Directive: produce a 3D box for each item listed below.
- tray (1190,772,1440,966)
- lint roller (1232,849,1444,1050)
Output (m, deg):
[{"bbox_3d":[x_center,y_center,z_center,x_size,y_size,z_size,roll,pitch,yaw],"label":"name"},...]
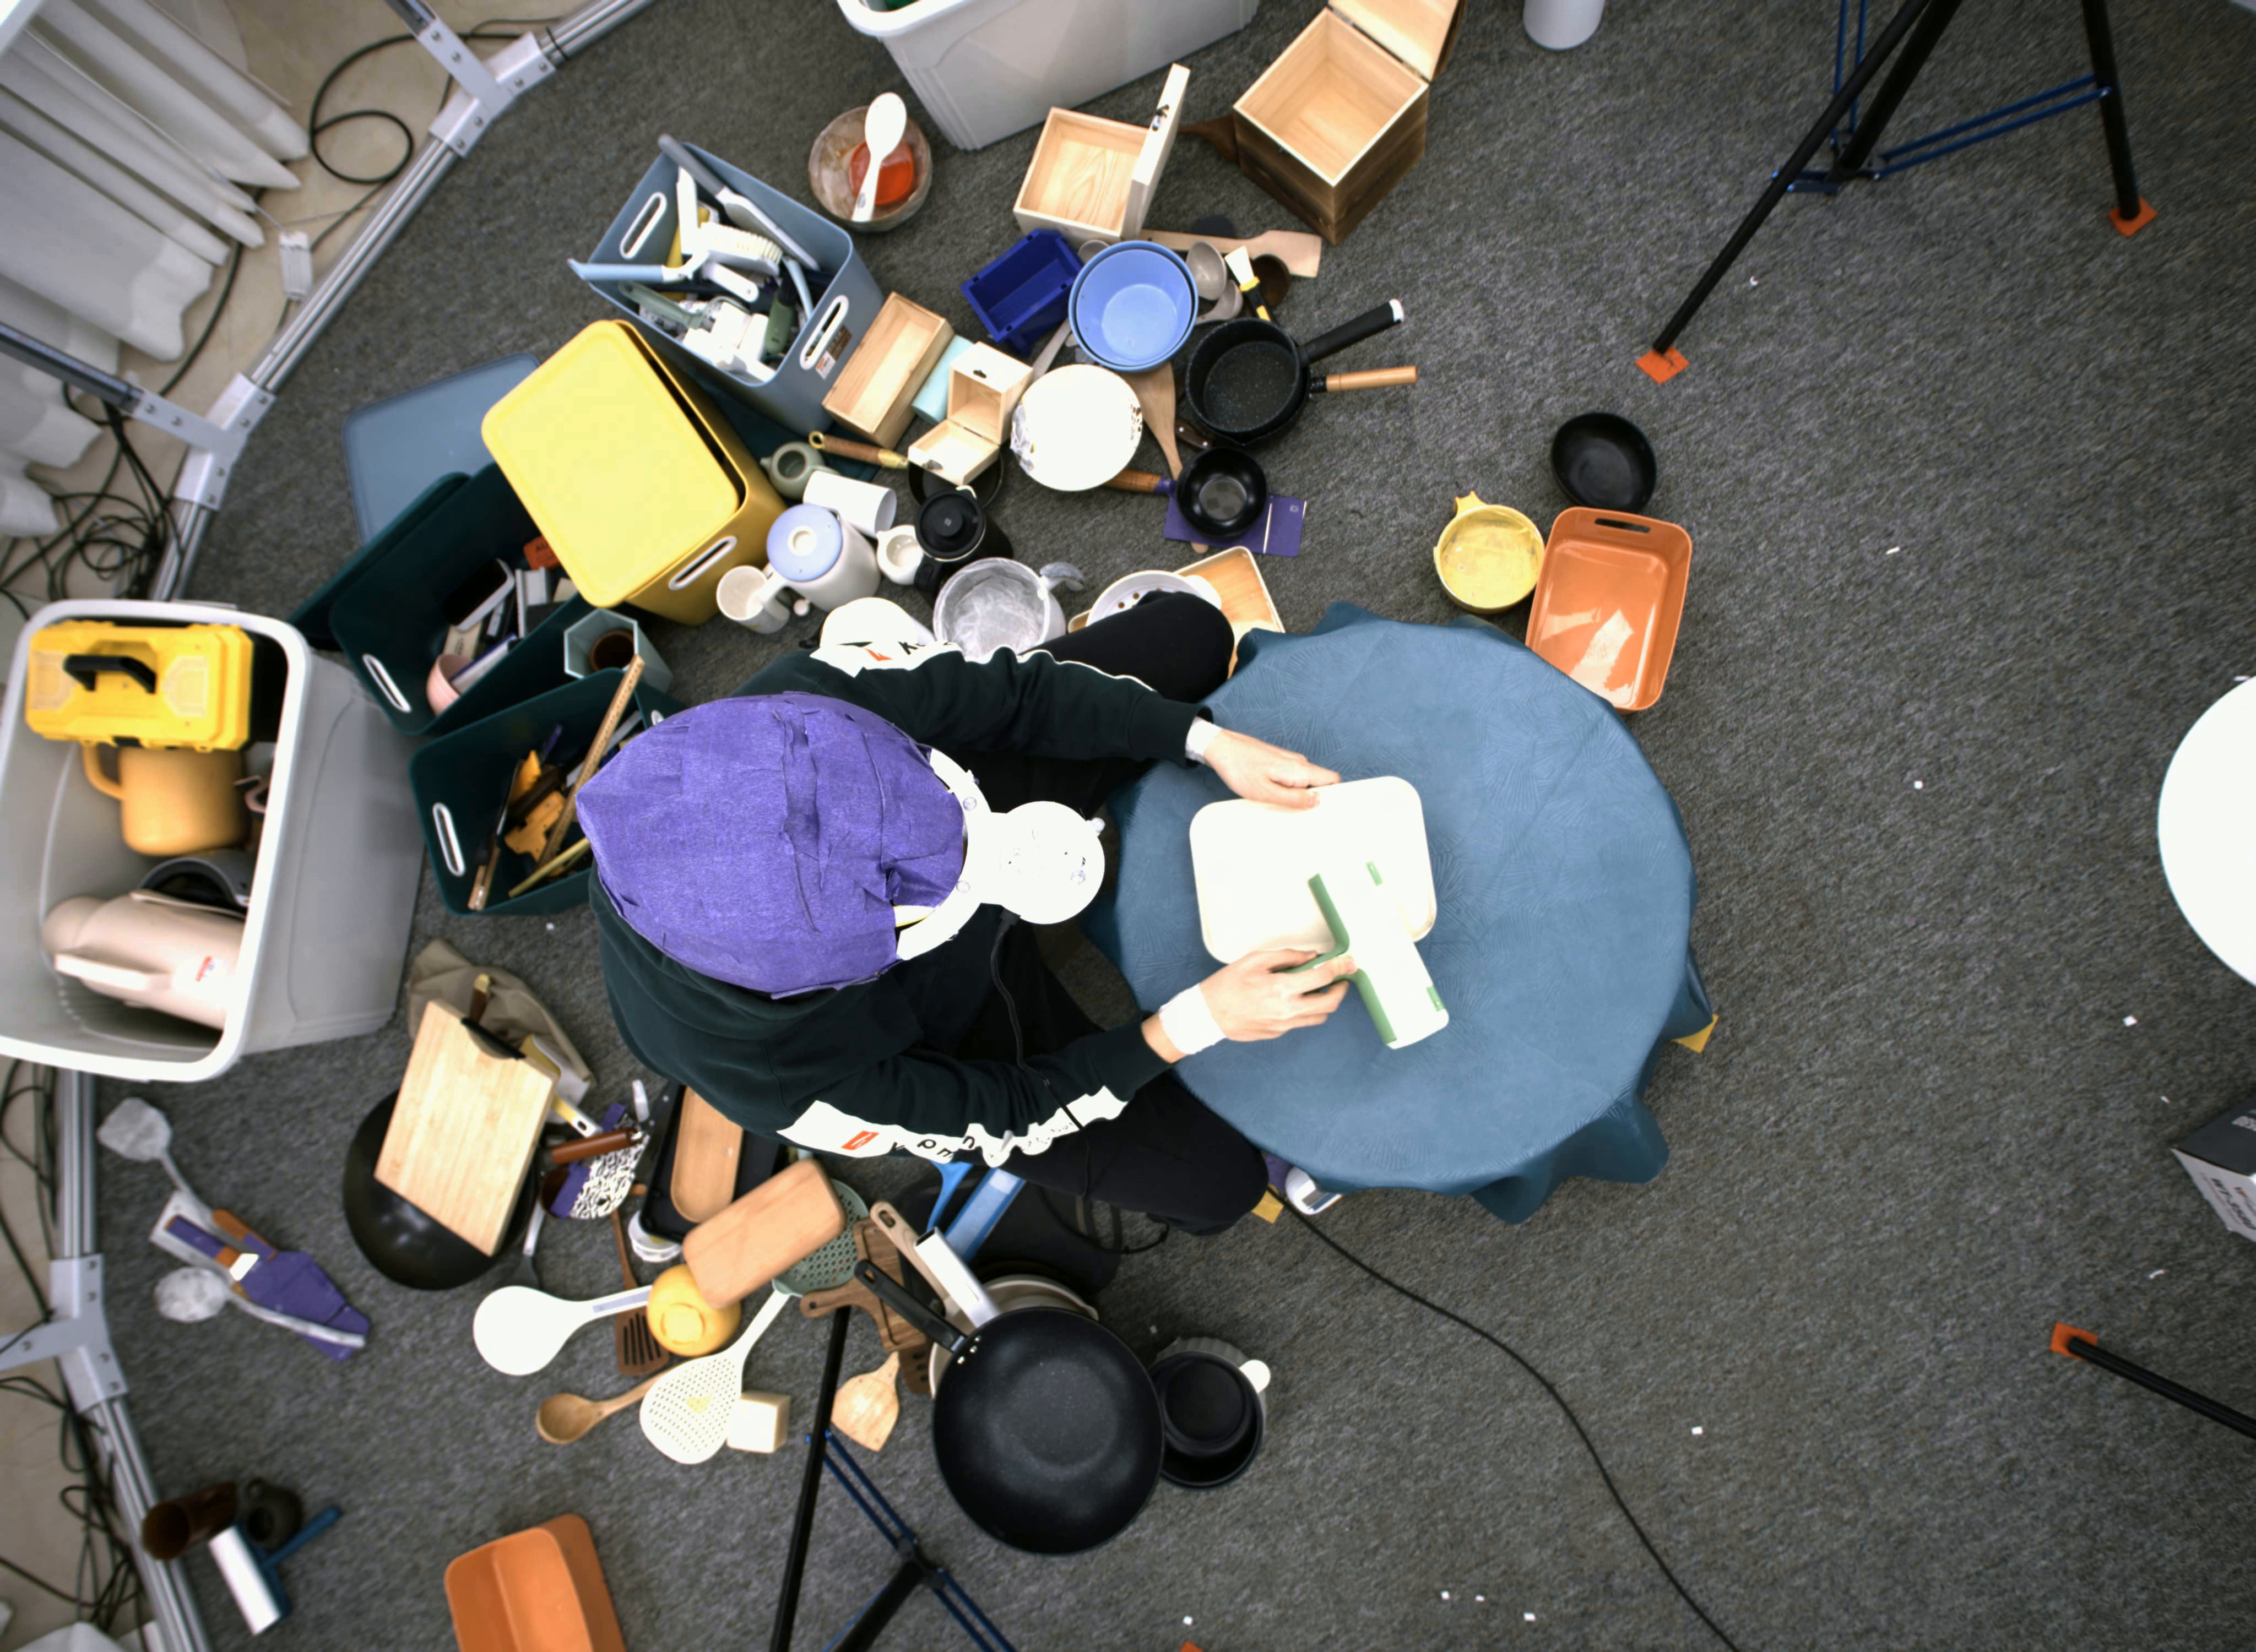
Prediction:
[{"bbox_3d":[0.189,0.044,1.410,0.241,0.017,0.170,-10,88,13],"label":"tray"},{"bbox_3d":[0.189,0.141,1.350,0.183,0.083,0.197,-23,83,-7],"label":"lint roller"}]
